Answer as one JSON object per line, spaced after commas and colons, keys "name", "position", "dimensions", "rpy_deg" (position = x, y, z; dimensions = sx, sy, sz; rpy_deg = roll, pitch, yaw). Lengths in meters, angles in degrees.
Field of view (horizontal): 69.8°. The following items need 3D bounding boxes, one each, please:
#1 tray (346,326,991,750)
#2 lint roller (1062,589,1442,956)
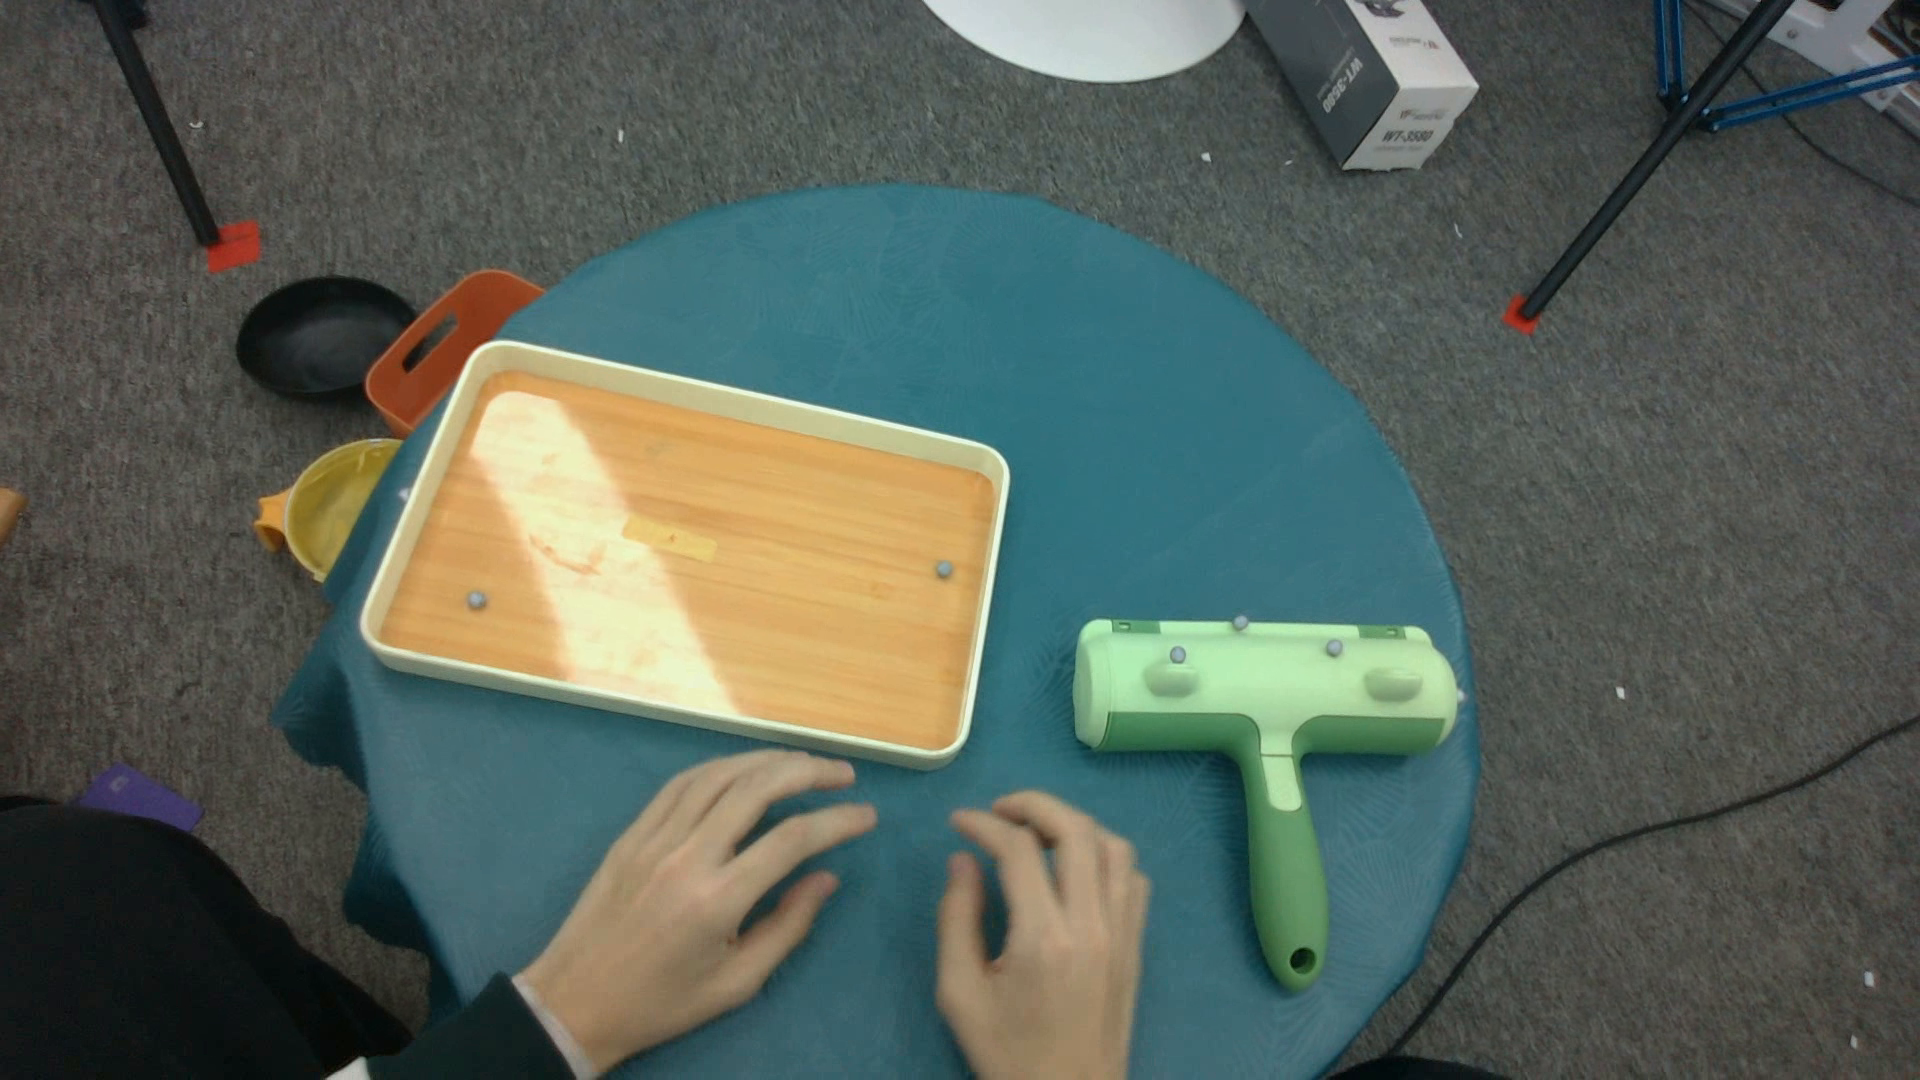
{"name": "tray", "position": [-0.140, -0.004, 0.720], "dimensions": [0.300, 0.027, 0.192], "rpy_deg": [10, 62, -5]}
{"name": "lint roller", "position": [0.158, 0.106, 0.687], "dimensions": [0.199, 0.082, 0.184], "rpy_deg": [1, 57, -10]}
